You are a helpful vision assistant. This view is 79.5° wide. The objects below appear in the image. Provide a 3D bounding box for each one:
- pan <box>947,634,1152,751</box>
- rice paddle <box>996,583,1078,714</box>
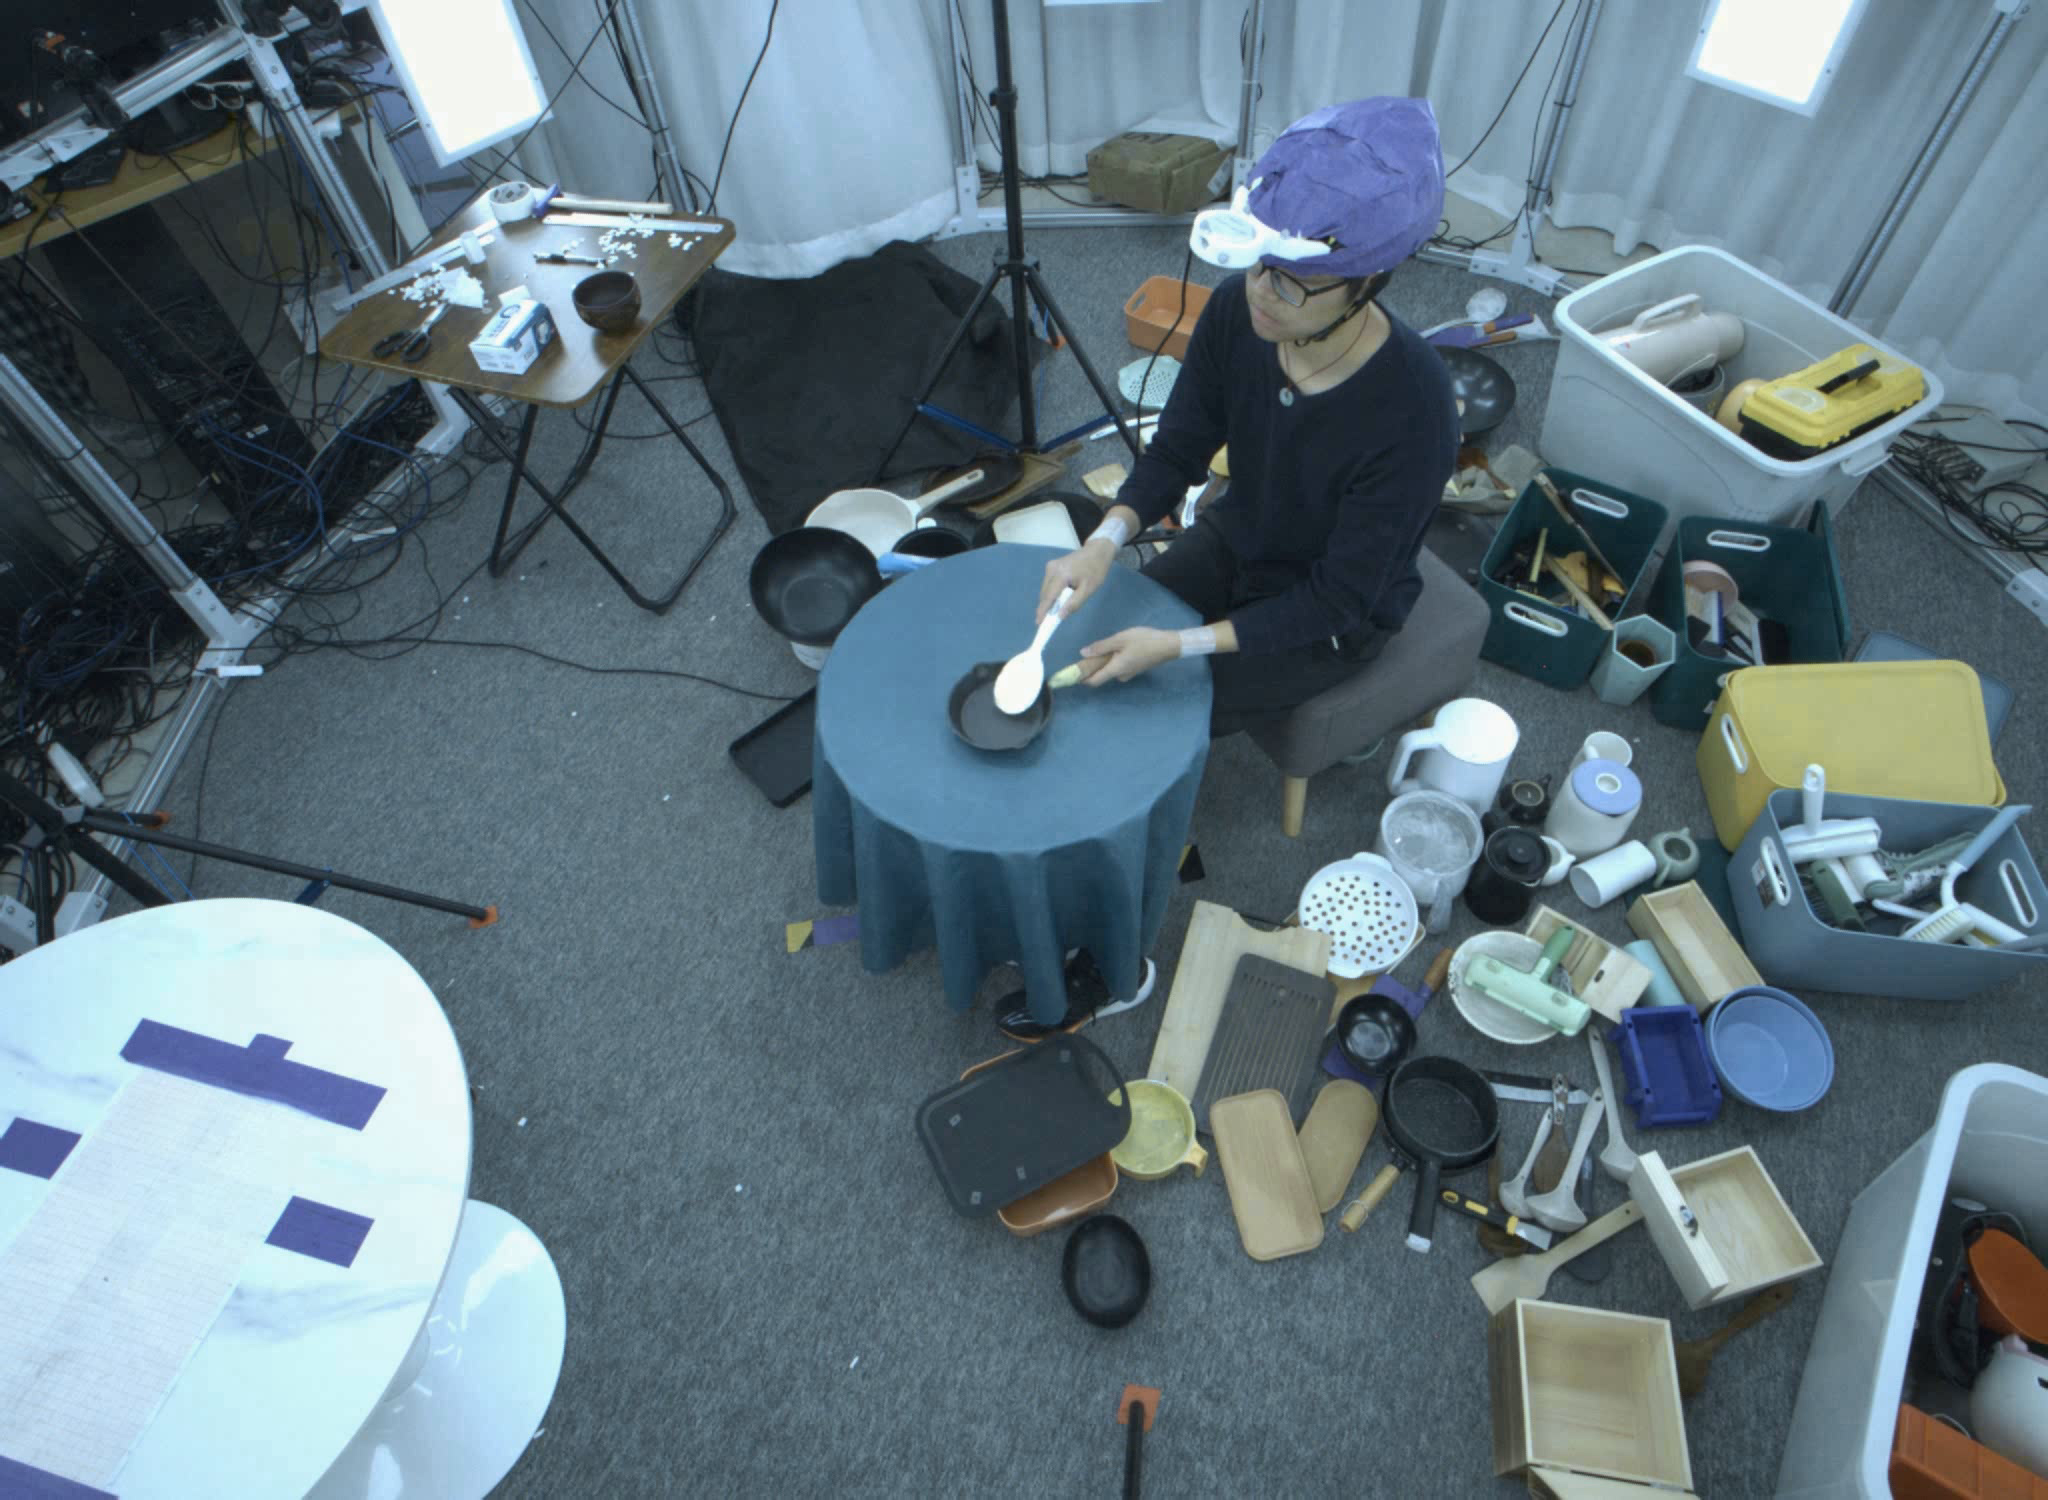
[{"bbox_3d":[0.043,-0.096,1.806,0.325,0.050,0.166,-23,59,-7],"label":"pan"},{"bbox_3d":[0.019,-0.147,1.793,0.068,0.030,0.205,27,91,21],"label":"rice paddle"}]
